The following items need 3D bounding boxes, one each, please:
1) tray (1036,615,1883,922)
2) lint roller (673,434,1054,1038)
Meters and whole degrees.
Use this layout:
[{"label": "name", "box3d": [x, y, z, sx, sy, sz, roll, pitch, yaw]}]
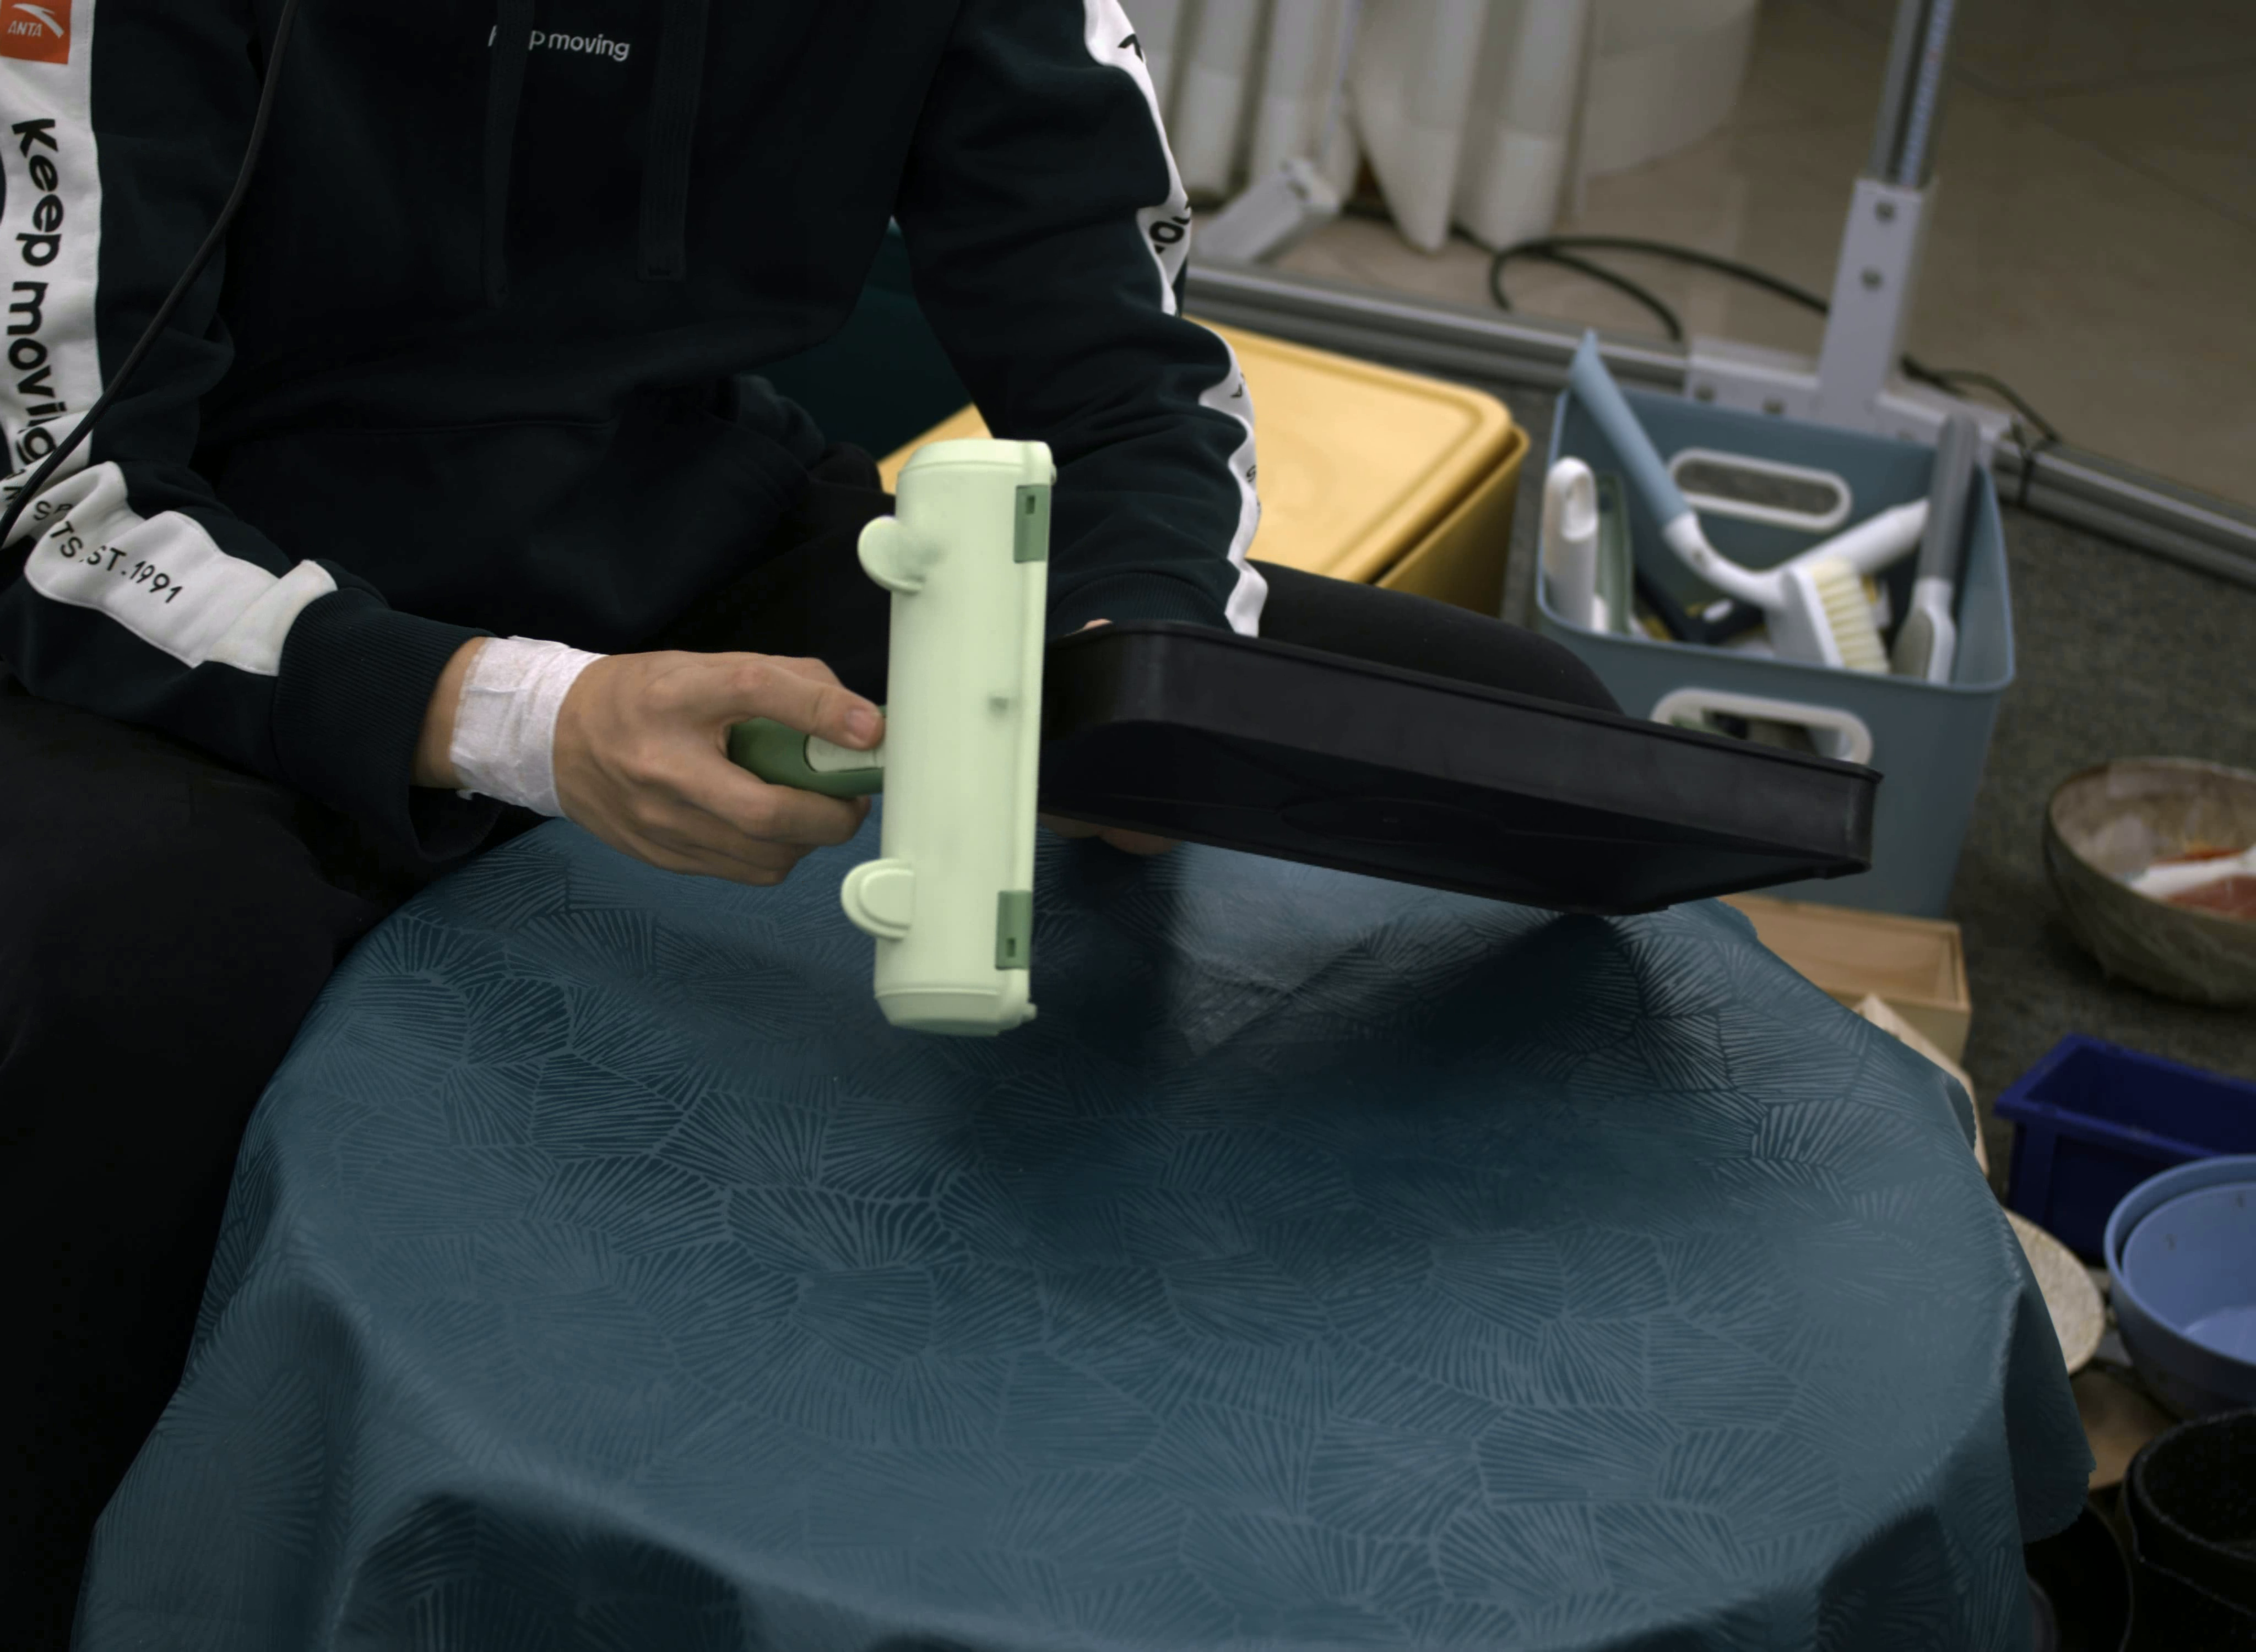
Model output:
[{"label": "tray", "box3d": [0.092, -0.016, 1.873, 0.315, 0.037, 0.185, 11, -13, -27]}, {"label": "lint roller", "box3d": [-0.102, -0.027, 1.787, 0.184, 0.199, 0.081, -4, -10, 37]}]
